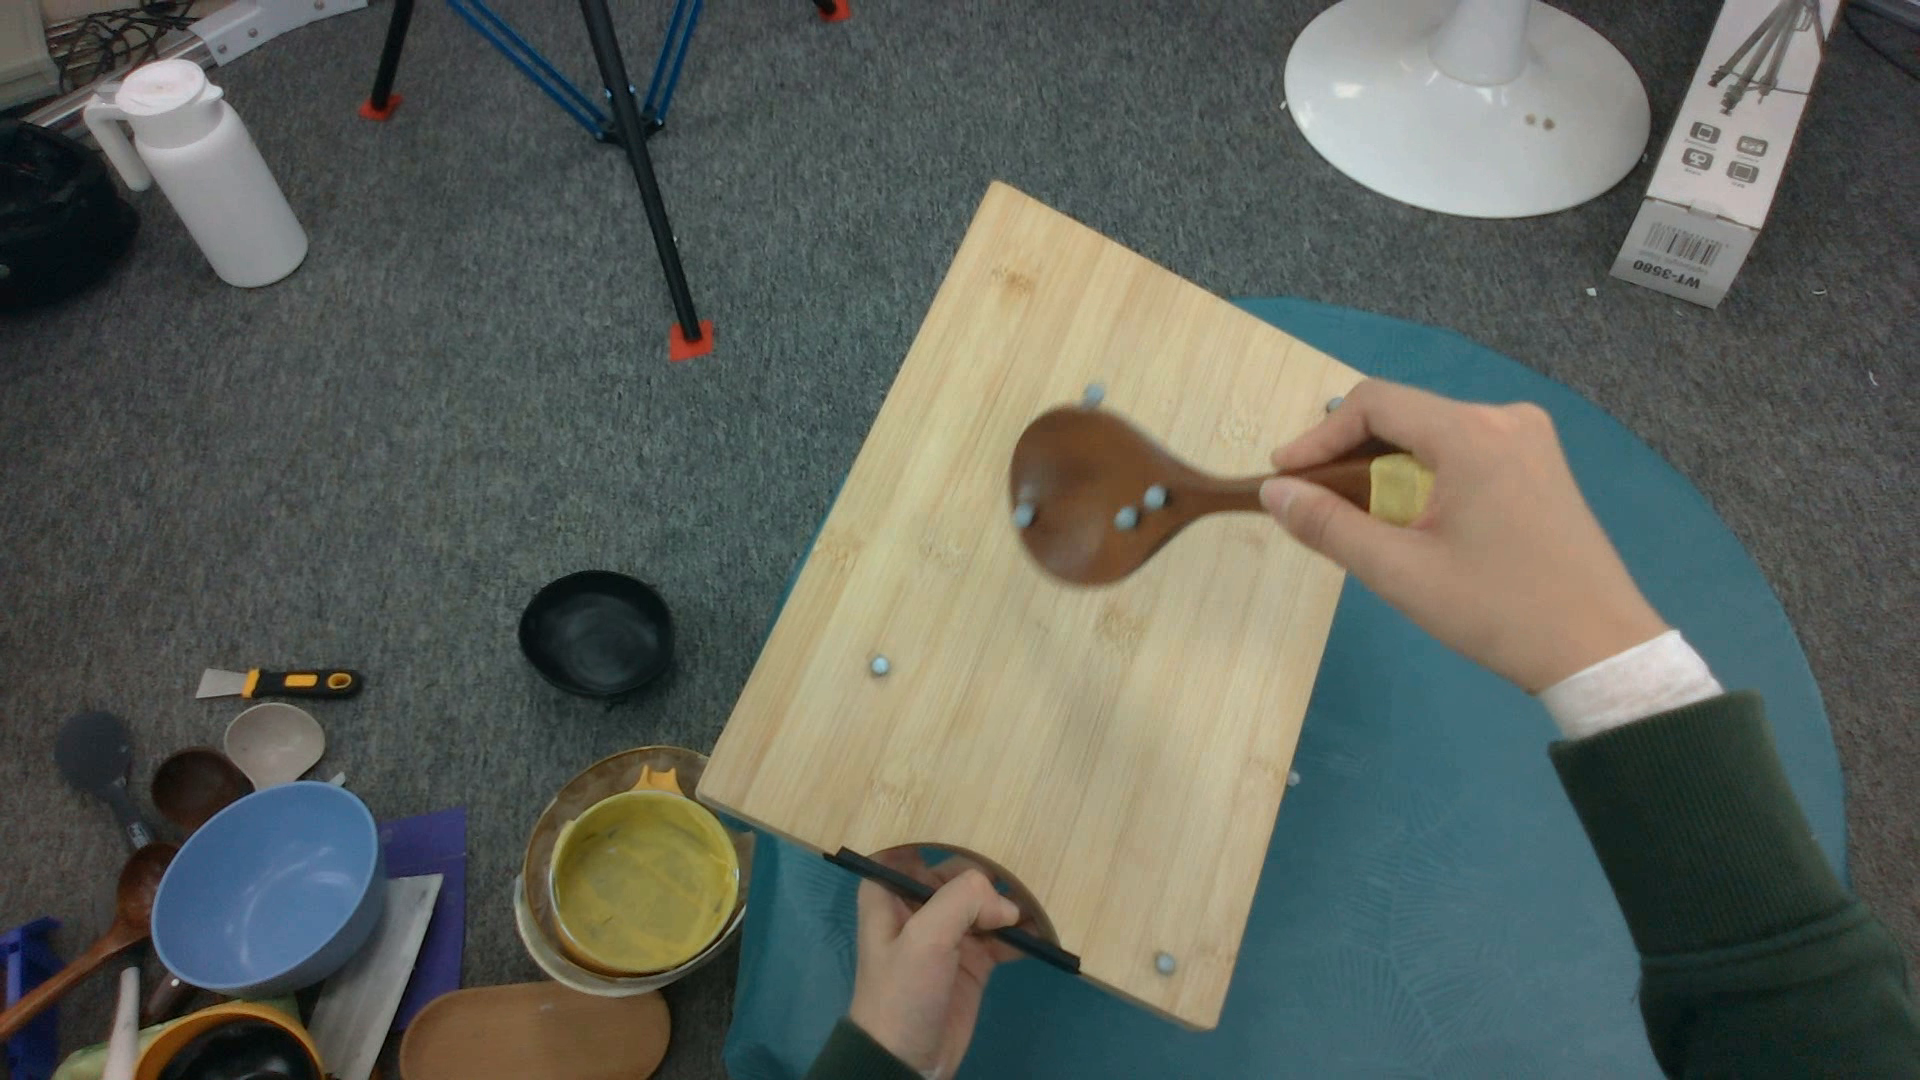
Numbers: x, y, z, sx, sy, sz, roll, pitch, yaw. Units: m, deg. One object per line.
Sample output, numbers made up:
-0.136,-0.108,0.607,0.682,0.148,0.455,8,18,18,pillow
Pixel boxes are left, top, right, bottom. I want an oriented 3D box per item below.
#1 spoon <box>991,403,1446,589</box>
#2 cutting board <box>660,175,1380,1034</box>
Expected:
0.083,-0.017,0.511,0.017,0.215,0.075,-2,92,-37,spoon
0.050,0.014,0.643,0.251,0.023,0.350,25,65,-7,cutting board
